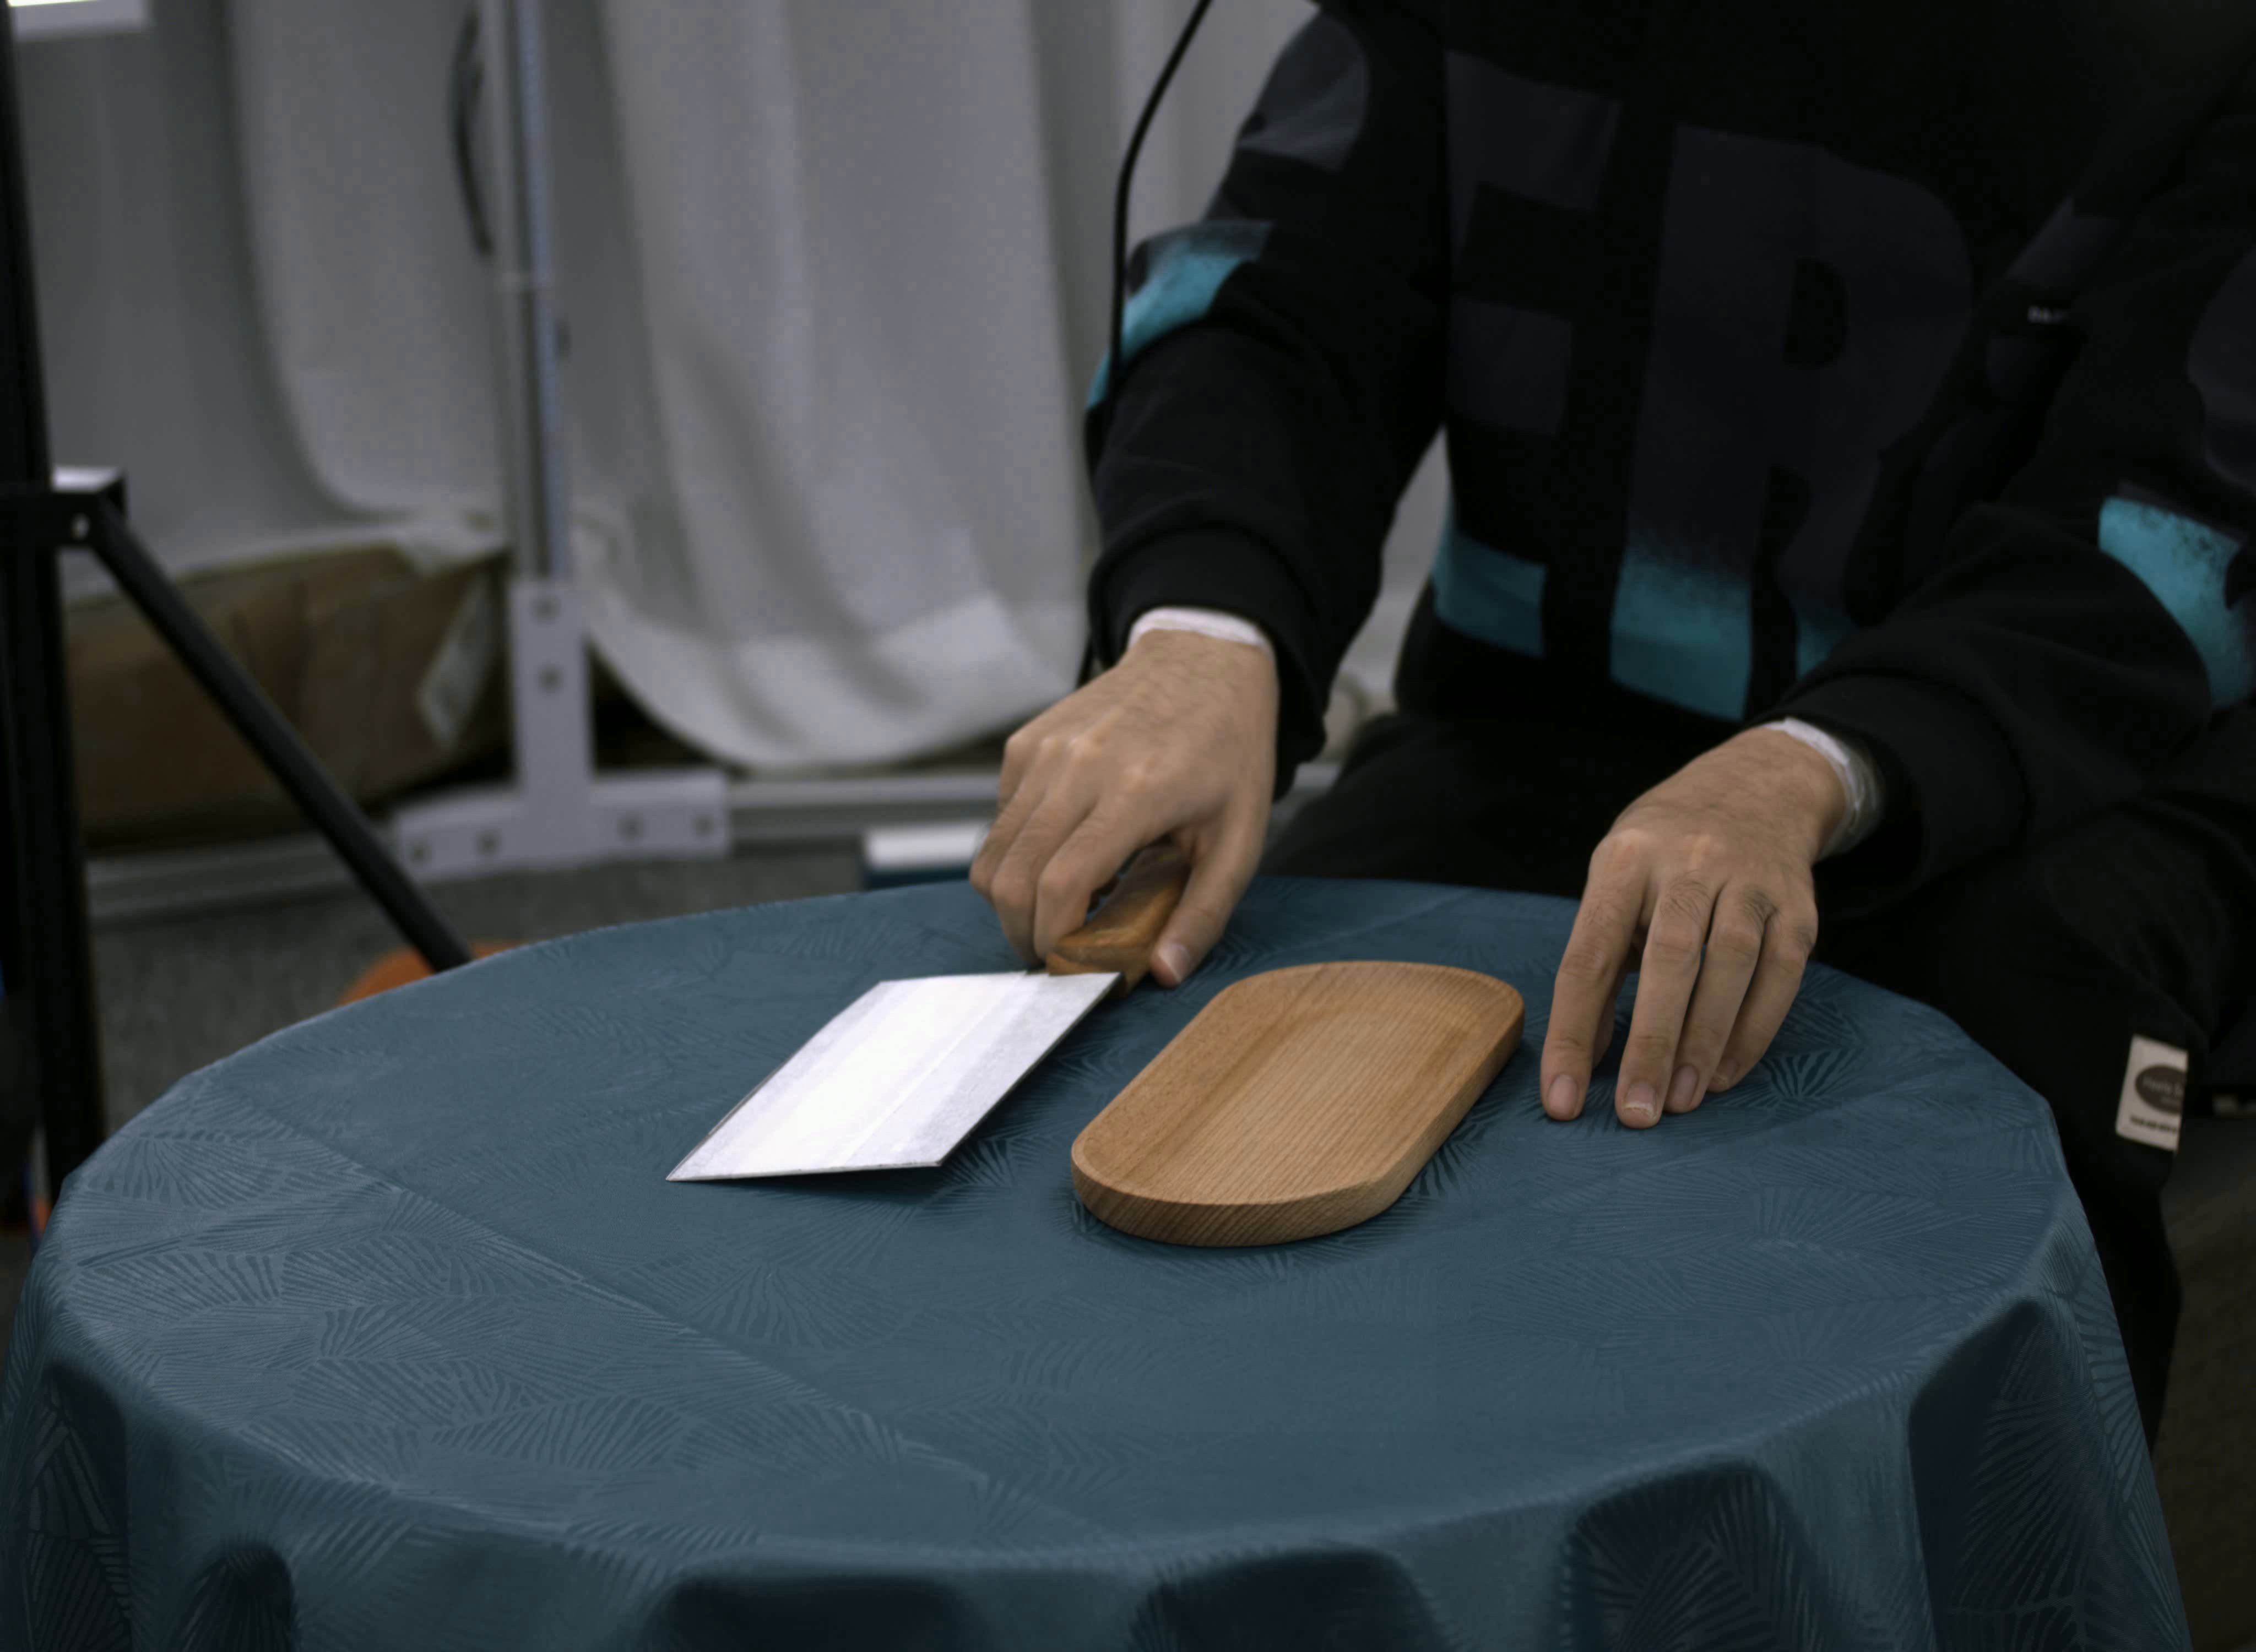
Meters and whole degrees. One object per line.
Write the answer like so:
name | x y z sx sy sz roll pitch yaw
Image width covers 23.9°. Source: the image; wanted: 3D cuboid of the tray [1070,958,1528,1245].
tray | 0.055 0.081 1.612 0.103 0.020 0.228 4 16 19

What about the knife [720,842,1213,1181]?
knife | -0.050 0.059 1.708 0.094 0.021 0.303 -6 15 20
